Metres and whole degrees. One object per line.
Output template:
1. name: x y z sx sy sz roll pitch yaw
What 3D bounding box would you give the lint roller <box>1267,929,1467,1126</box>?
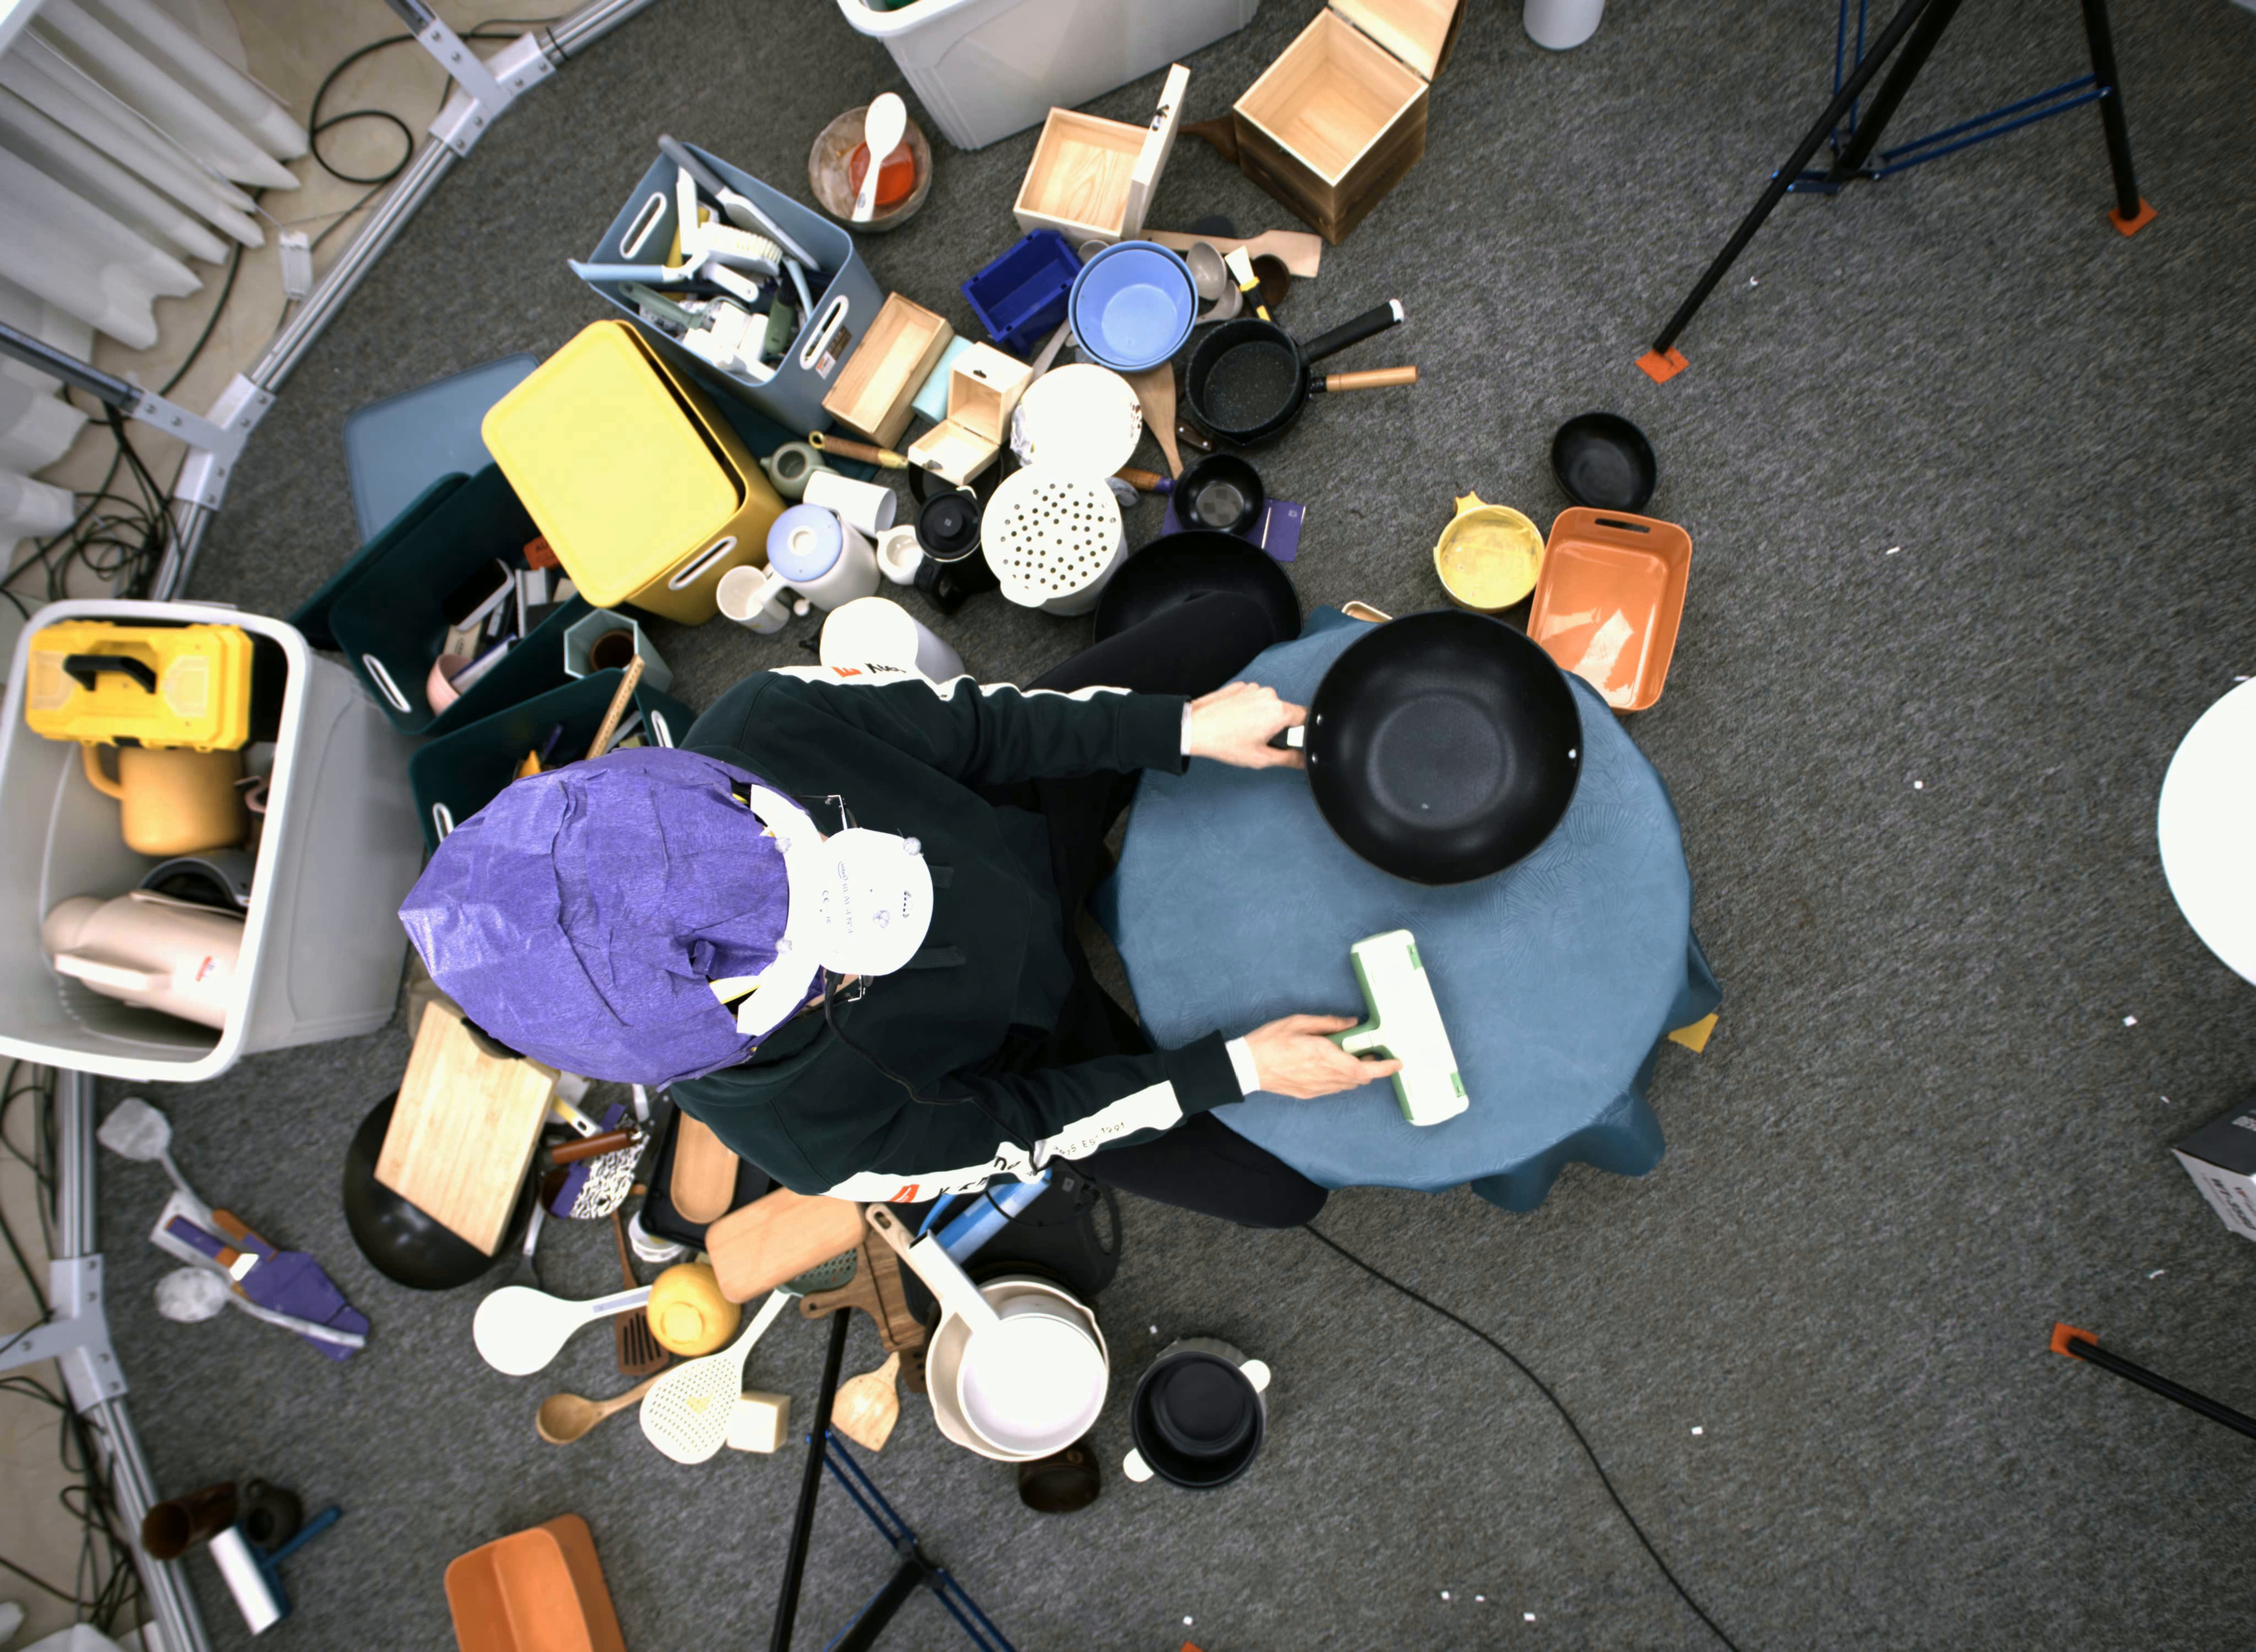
1. lint roller: 0.229 0.221 1.409 0.184 0.082 0.198 -18 89 6

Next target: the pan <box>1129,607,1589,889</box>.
1. pan: 0.234 -0.084 1.428 0.465 0.087 0.287 4 86 13
